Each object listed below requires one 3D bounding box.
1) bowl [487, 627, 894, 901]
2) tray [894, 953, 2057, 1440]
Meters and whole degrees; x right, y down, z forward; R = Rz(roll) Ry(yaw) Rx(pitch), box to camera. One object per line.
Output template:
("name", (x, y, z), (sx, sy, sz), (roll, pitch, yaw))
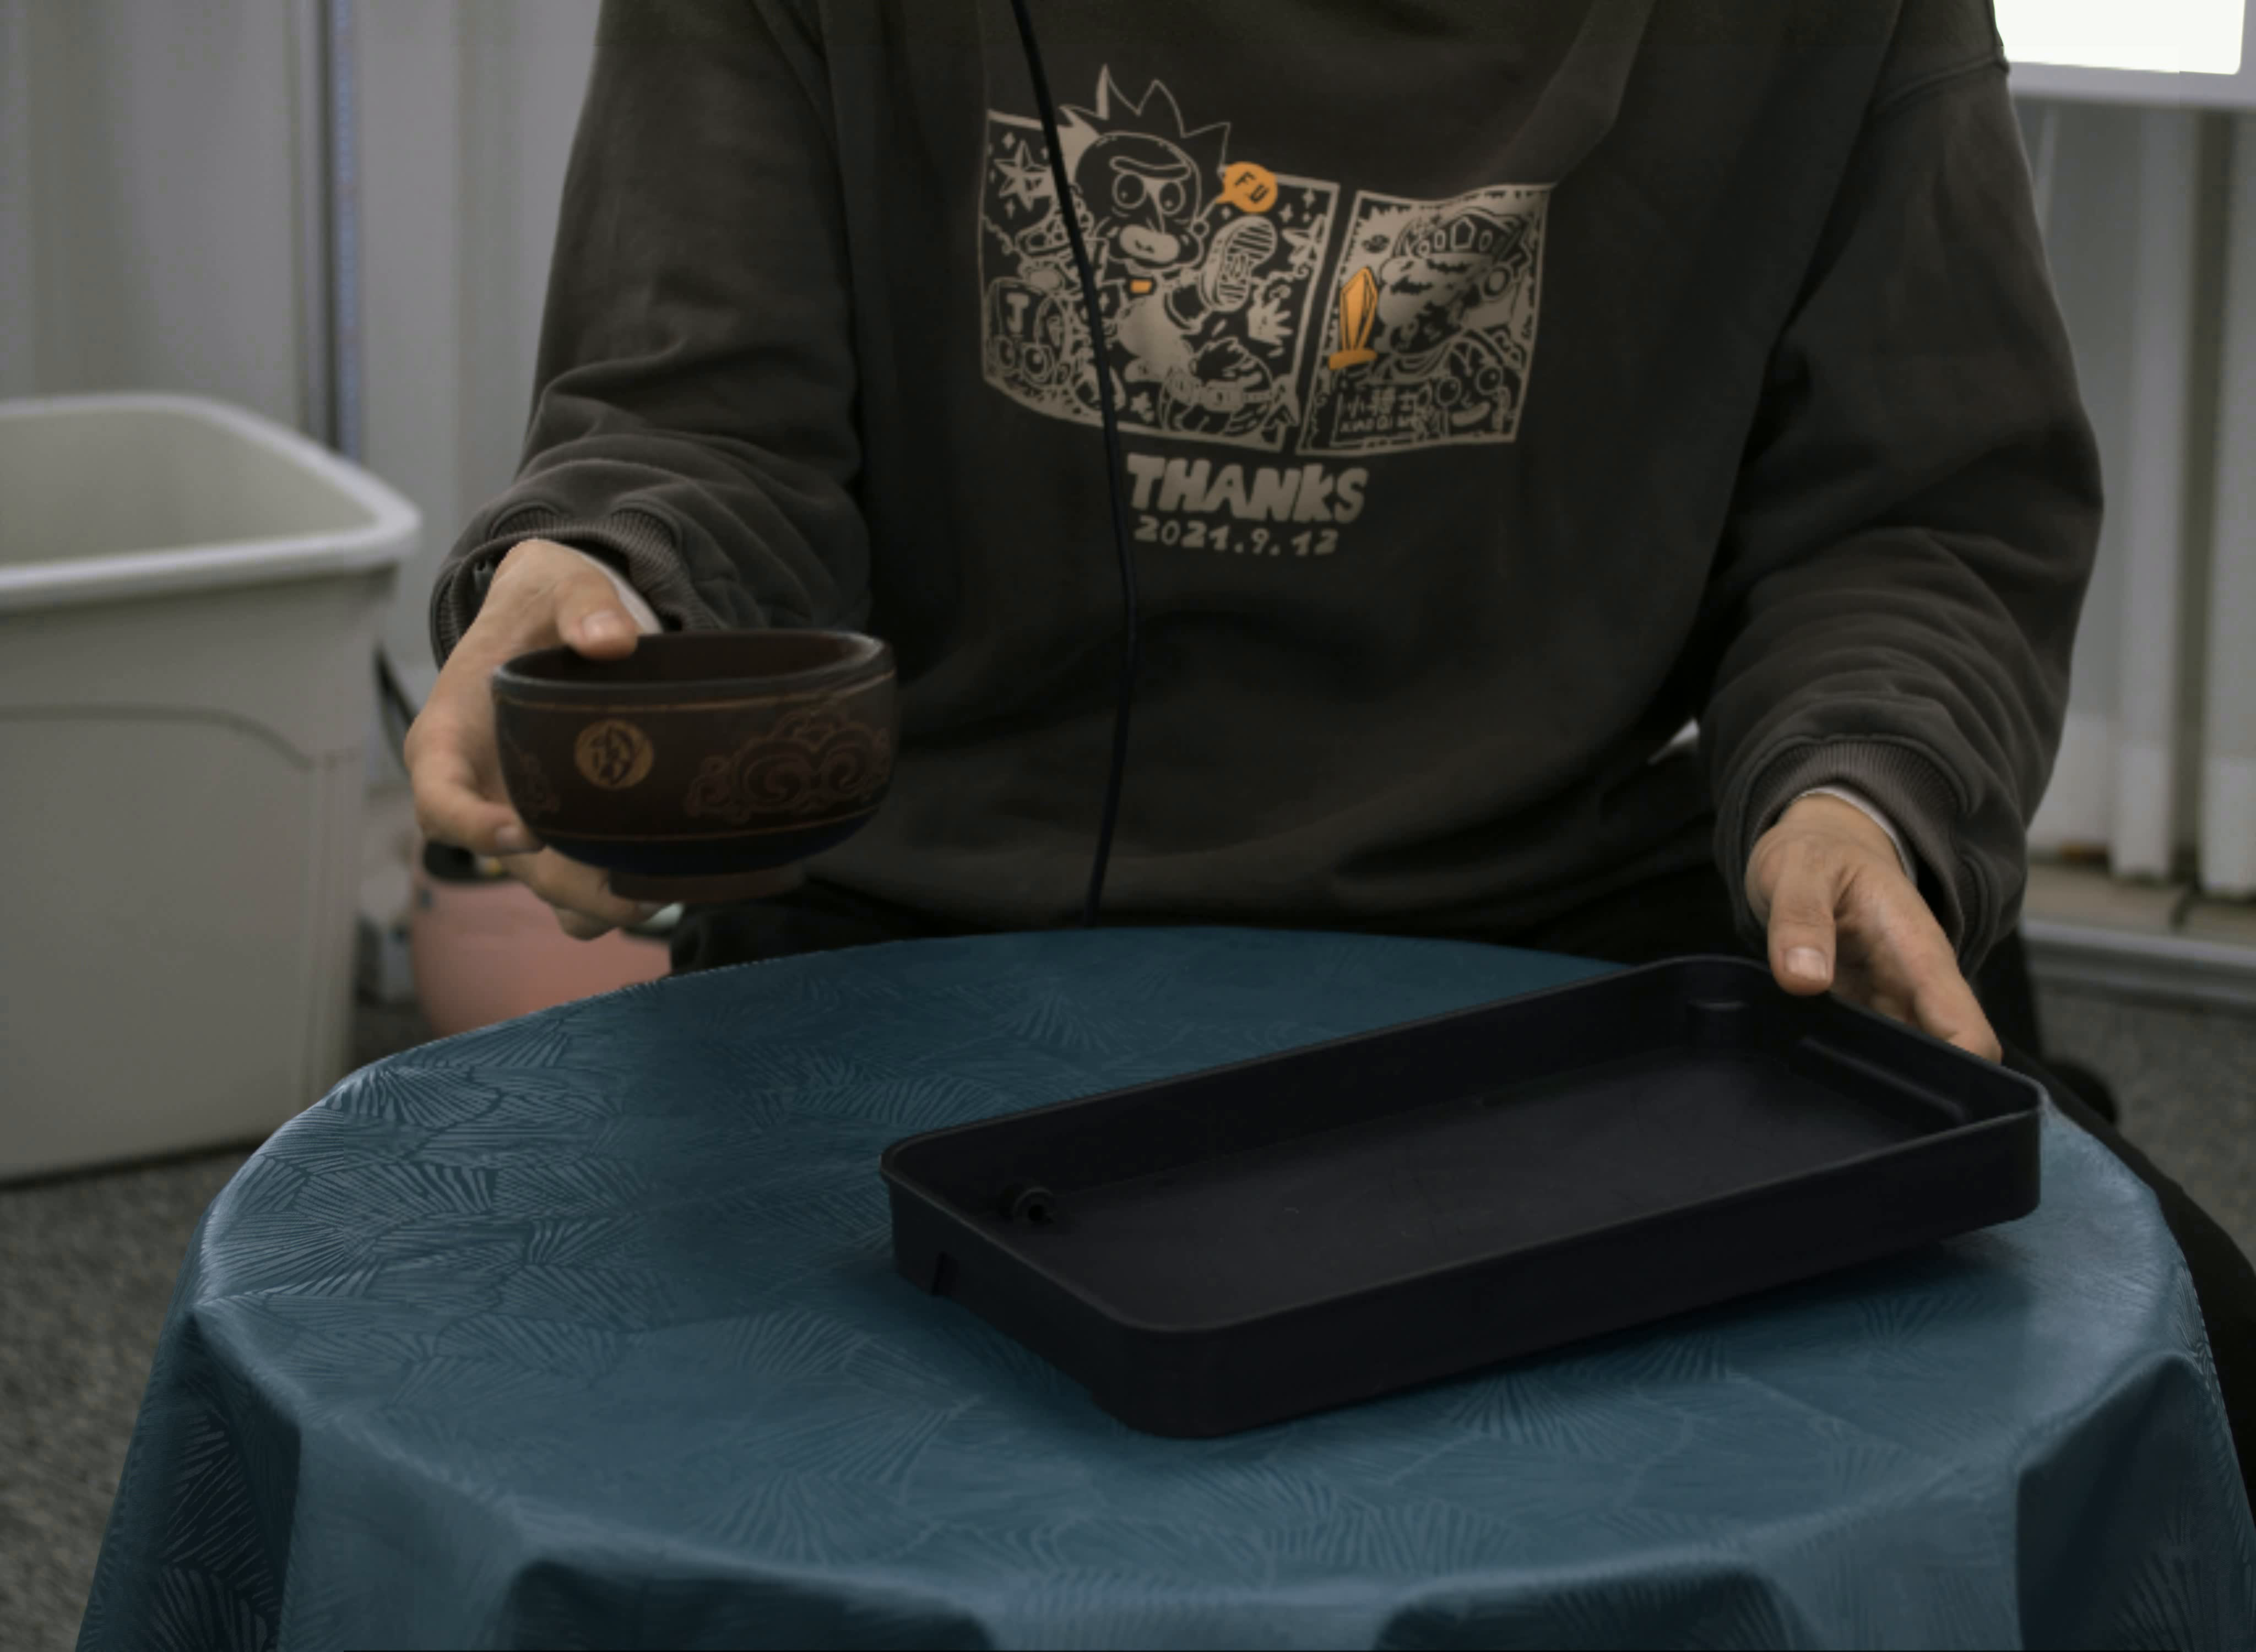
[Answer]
("bowl", (-0.126, -0.017, 1.534), (0.117, 0.070, 0.117), (-3, 9, 1))
("tray", (0.105, 0.104, 1.569), (0.319, 0.037, 0.182), (-13, 19, -30))
